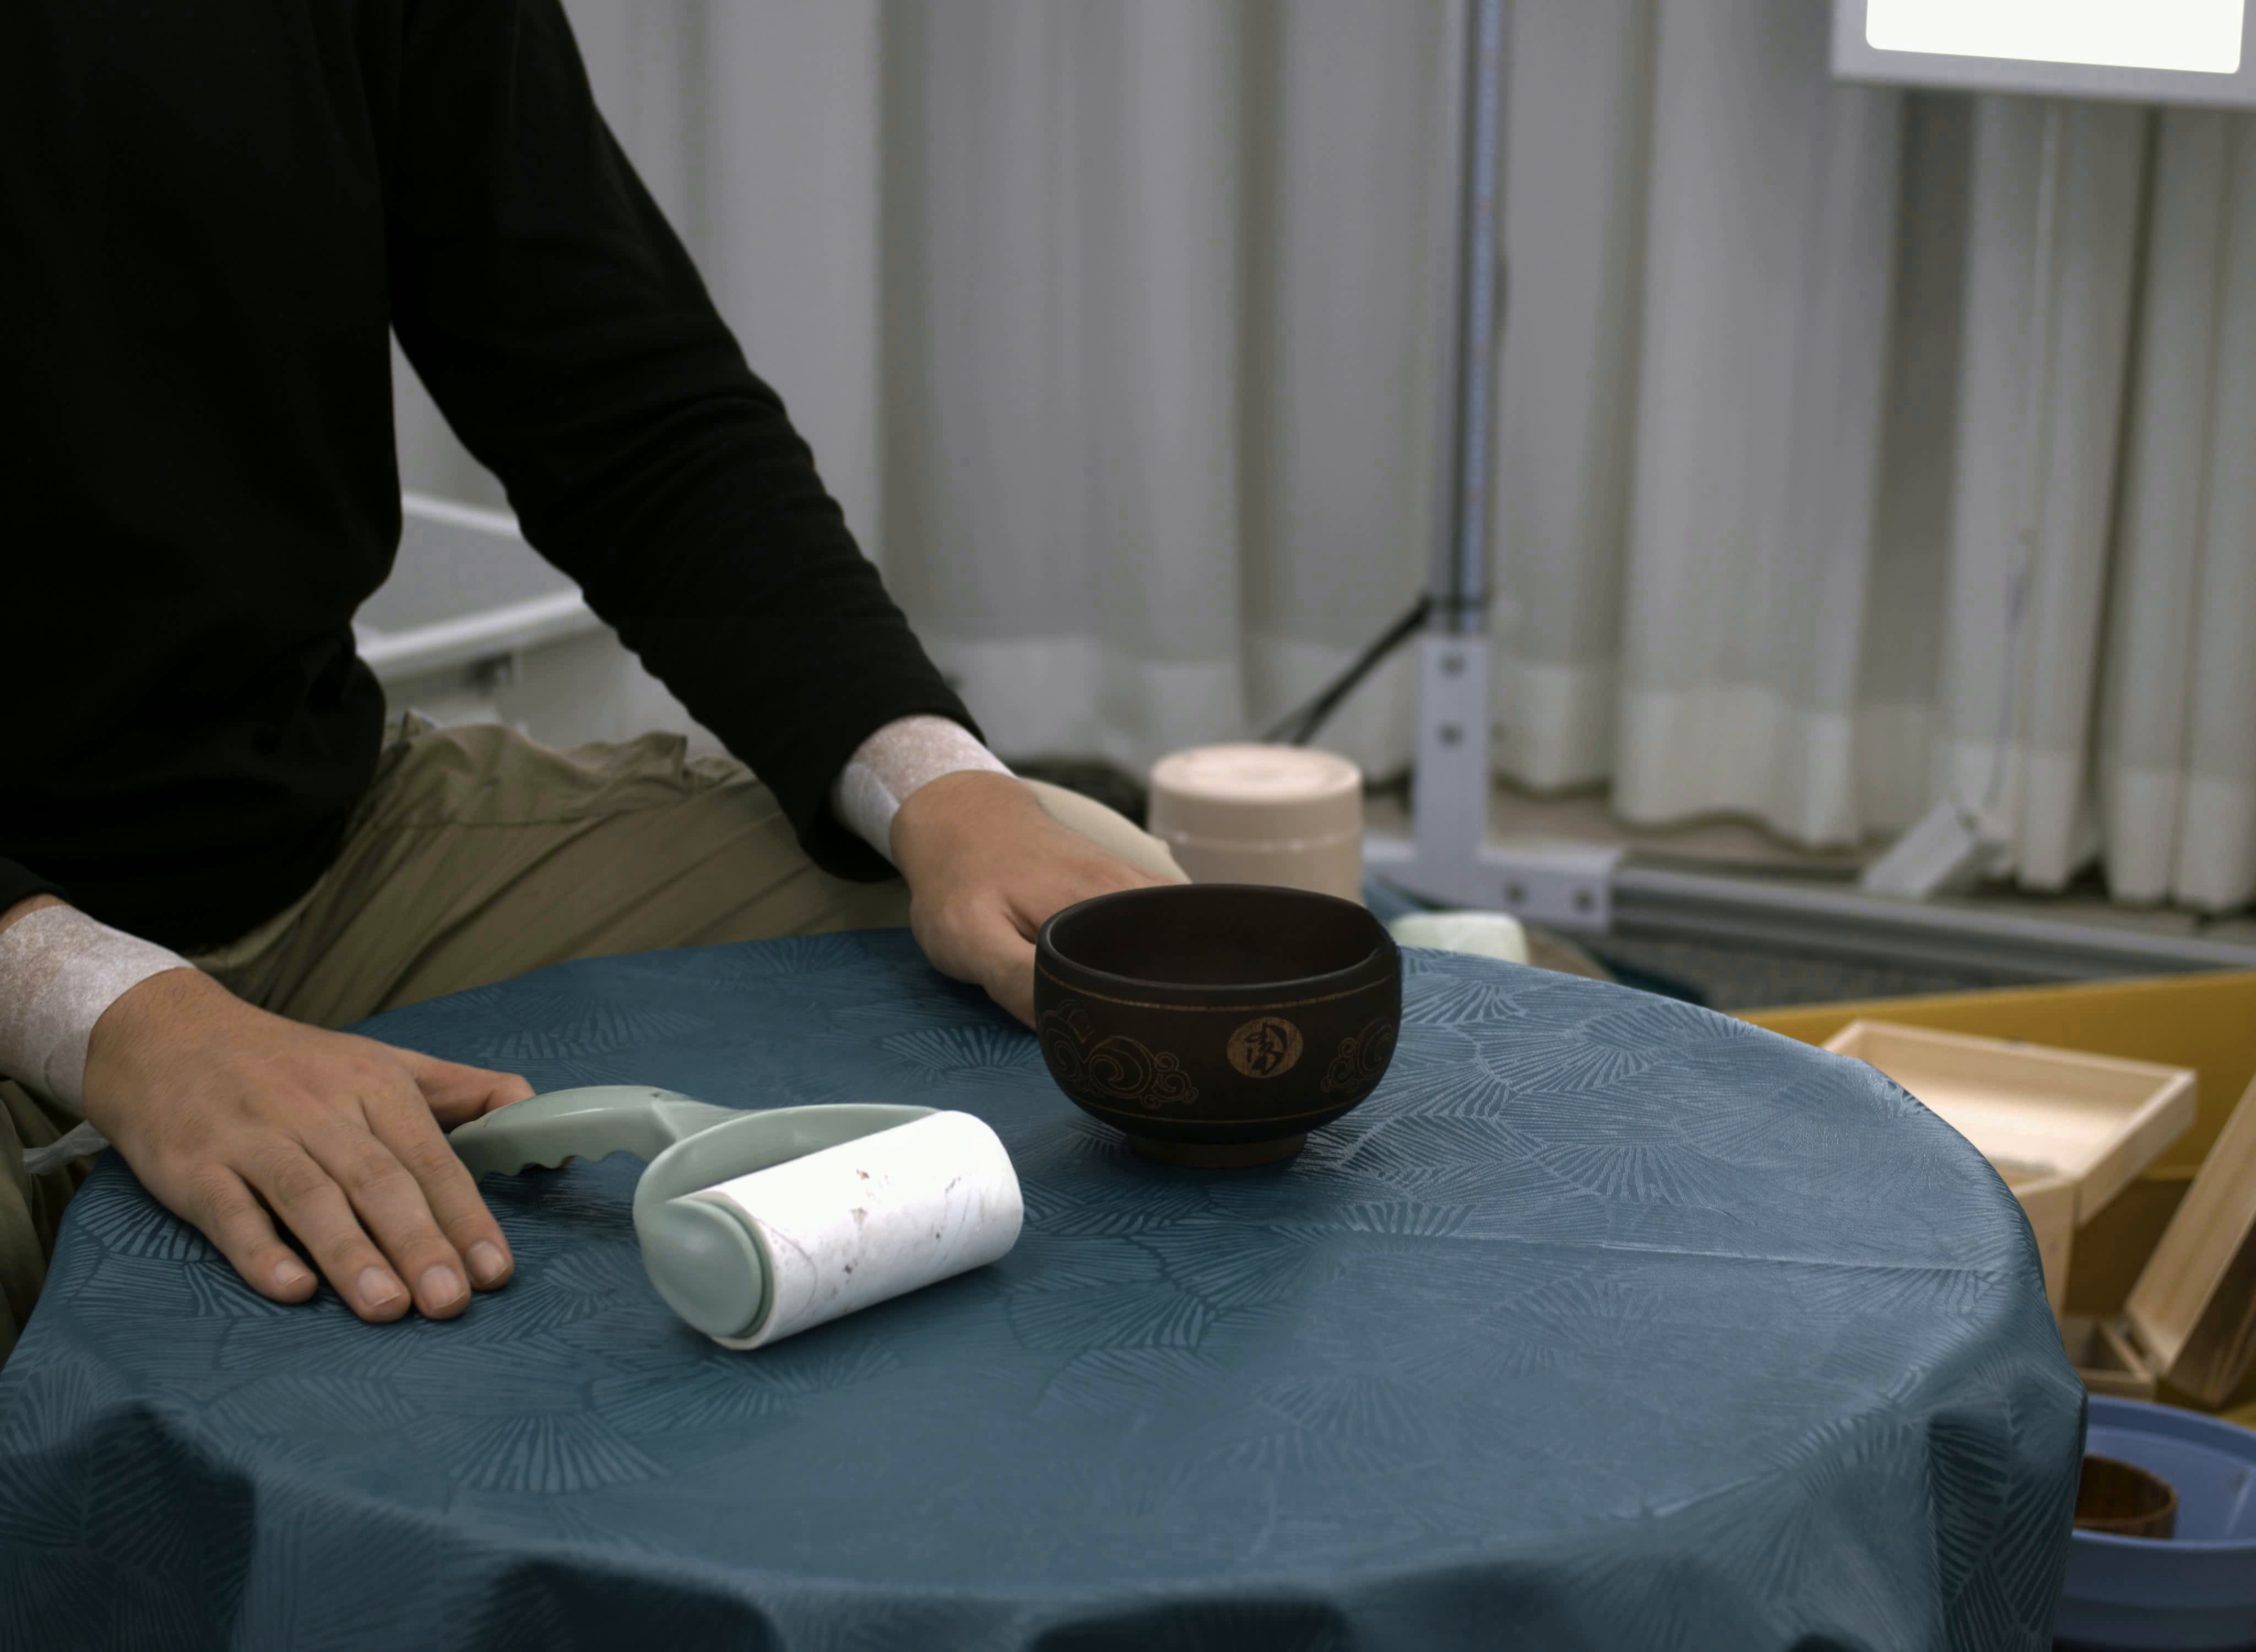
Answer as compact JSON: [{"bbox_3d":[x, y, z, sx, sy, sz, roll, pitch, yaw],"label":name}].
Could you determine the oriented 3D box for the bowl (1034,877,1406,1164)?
[{"bbox_3d":[0.029,0.065,1.658,0.117,0.070,0.117,-1,16,1],"label":"bowl"}]

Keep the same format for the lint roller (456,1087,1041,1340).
[{"bbox_3d":[-0.129,0.102,1.570,0.195,0.049,0.117,12,20,40],"label":"lint roller"}]
